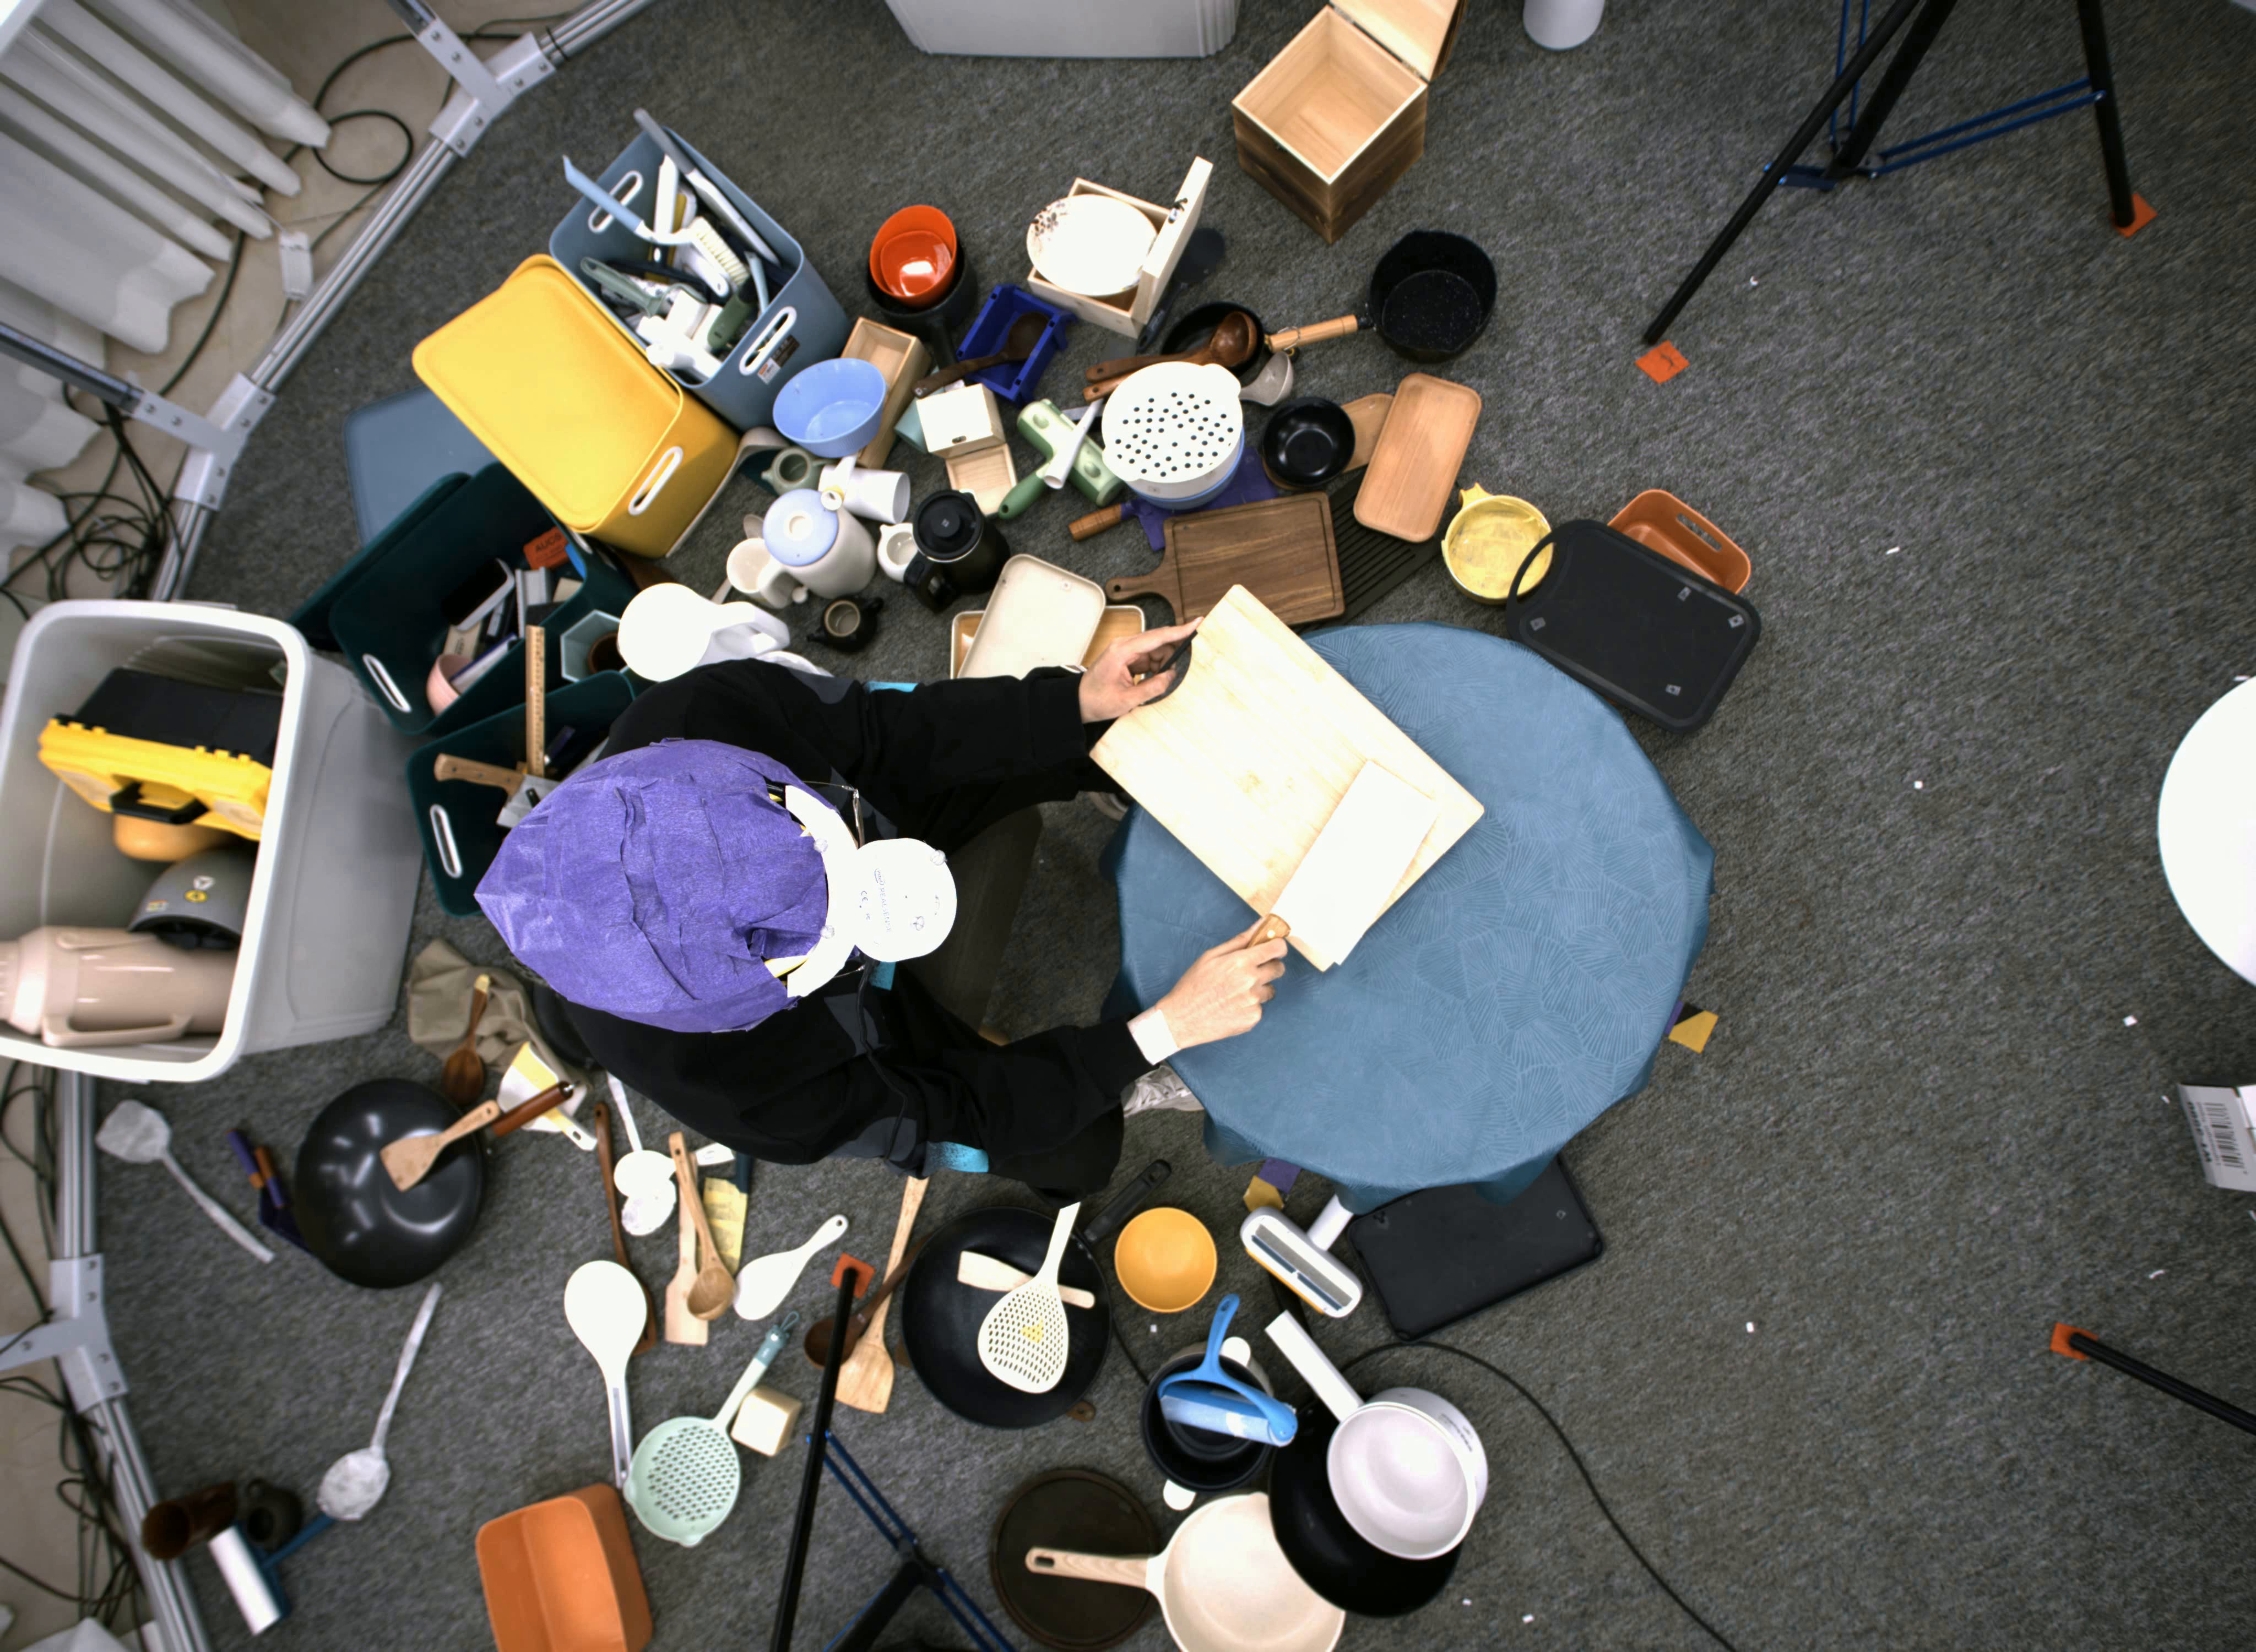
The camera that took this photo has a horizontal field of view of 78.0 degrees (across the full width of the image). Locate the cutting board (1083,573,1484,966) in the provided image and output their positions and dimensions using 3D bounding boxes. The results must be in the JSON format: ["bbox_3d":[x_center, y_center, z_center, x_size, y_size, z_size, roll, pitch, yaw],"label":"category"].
[{"bbox_3d":[0.155,-0.053,1.423,0.348,0.023,0.254,42,110,1],"label":"cutting board"}]

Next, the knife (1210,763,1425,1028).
[{"bbox_3d":[0.195,0.083,1.391,0.093,0.021,0.307,32,96,-2],"label":"knife"}]
